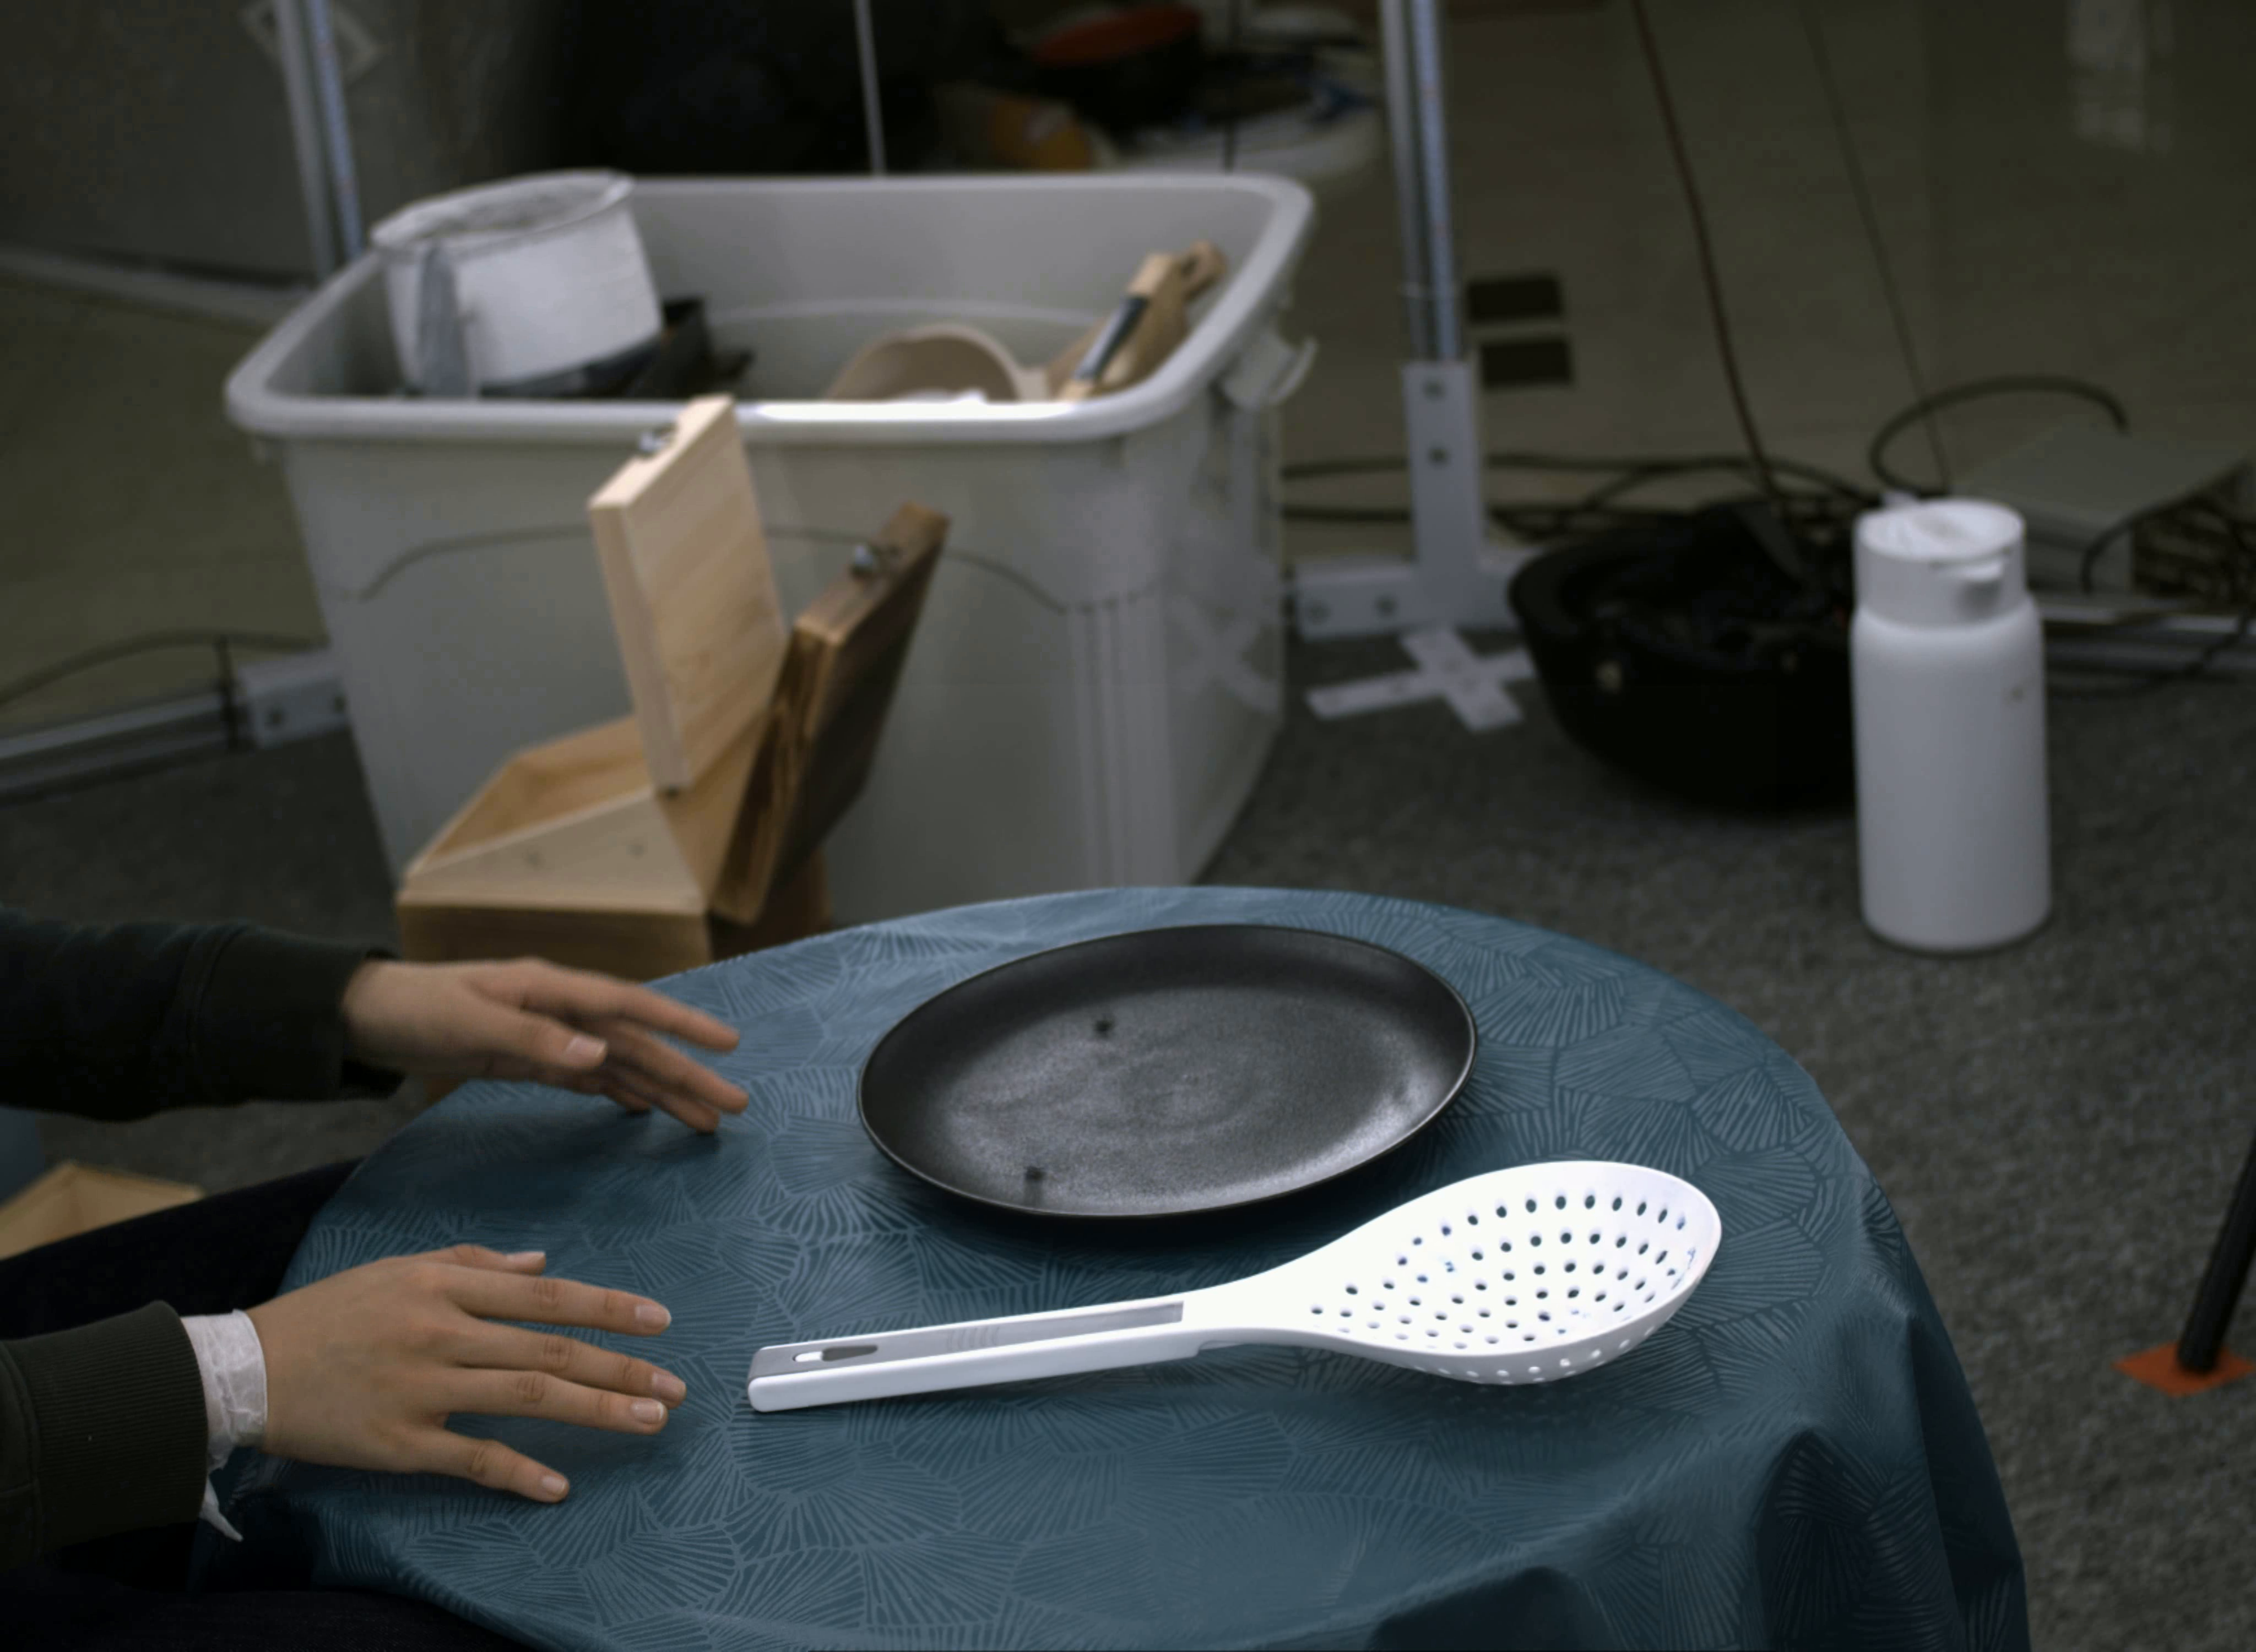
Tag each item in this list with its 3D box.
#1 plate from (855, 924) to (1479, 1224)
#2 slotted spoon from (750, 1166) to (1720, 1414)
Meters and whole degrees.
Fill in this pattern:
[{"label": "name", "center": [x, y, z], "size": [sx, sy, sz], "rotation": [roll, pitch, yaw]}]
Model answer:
[{"label": "plate", "center": [0.016, 0.101, 2.202], "size": [0.244, 0.024, 0.241], "rotation": [-5, 25, 3]}, {"label": "slotted spoon", "center": [0.036, 0.174, 2.014], "size": [0.349, 0.046, 0.134], "rotation": [-5, 23, 6]}]
